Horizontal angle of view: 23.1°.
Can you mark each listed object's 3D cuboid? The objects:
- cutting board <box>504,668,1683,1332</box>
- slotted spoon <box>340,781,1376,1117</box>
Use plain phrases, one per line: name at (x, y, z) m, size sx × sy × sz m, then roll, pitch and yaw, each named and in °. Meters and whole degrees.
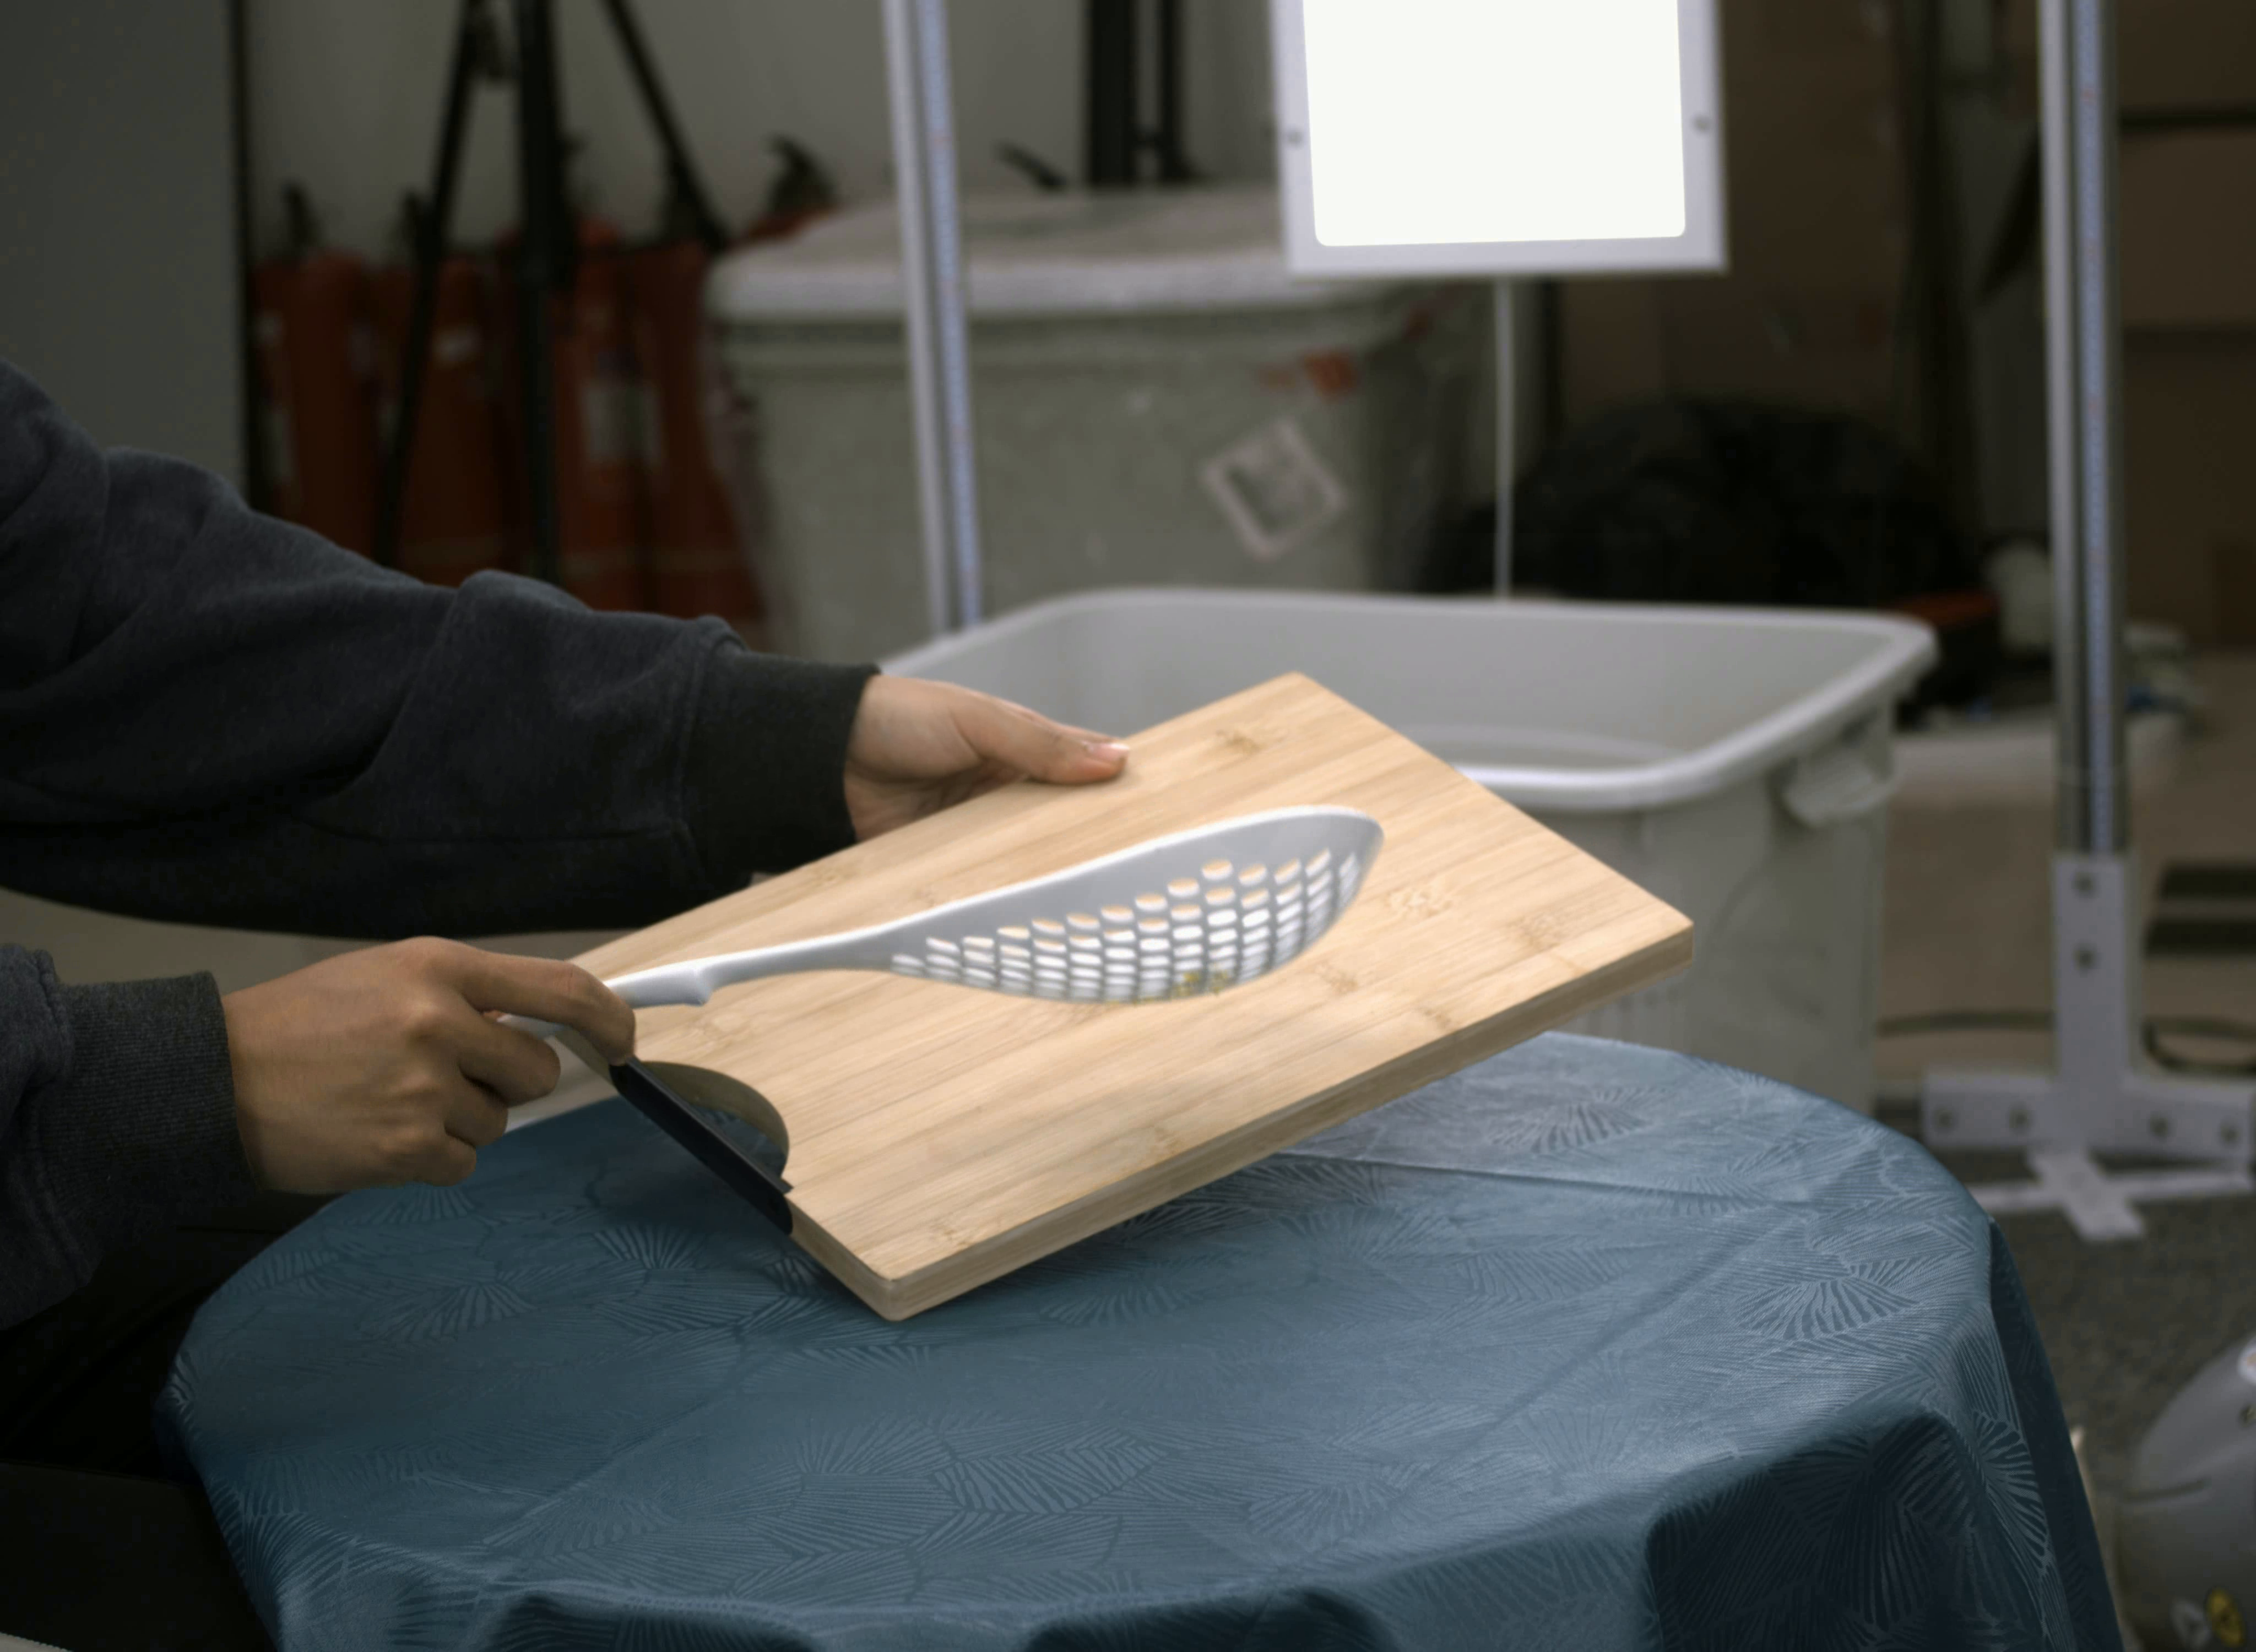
cutting board at (-0.010, 0.053, 1.939) m, size 0.341 × 0.023 × 0.255 m, roll -23°, pitch 35°, yaw -26°
slotted spoon at (-0.084, 0.045, 1.776) m, size 0.344 × 0.050 × 0.138 m, roll -8°, pitch -14°, yaw -9°
